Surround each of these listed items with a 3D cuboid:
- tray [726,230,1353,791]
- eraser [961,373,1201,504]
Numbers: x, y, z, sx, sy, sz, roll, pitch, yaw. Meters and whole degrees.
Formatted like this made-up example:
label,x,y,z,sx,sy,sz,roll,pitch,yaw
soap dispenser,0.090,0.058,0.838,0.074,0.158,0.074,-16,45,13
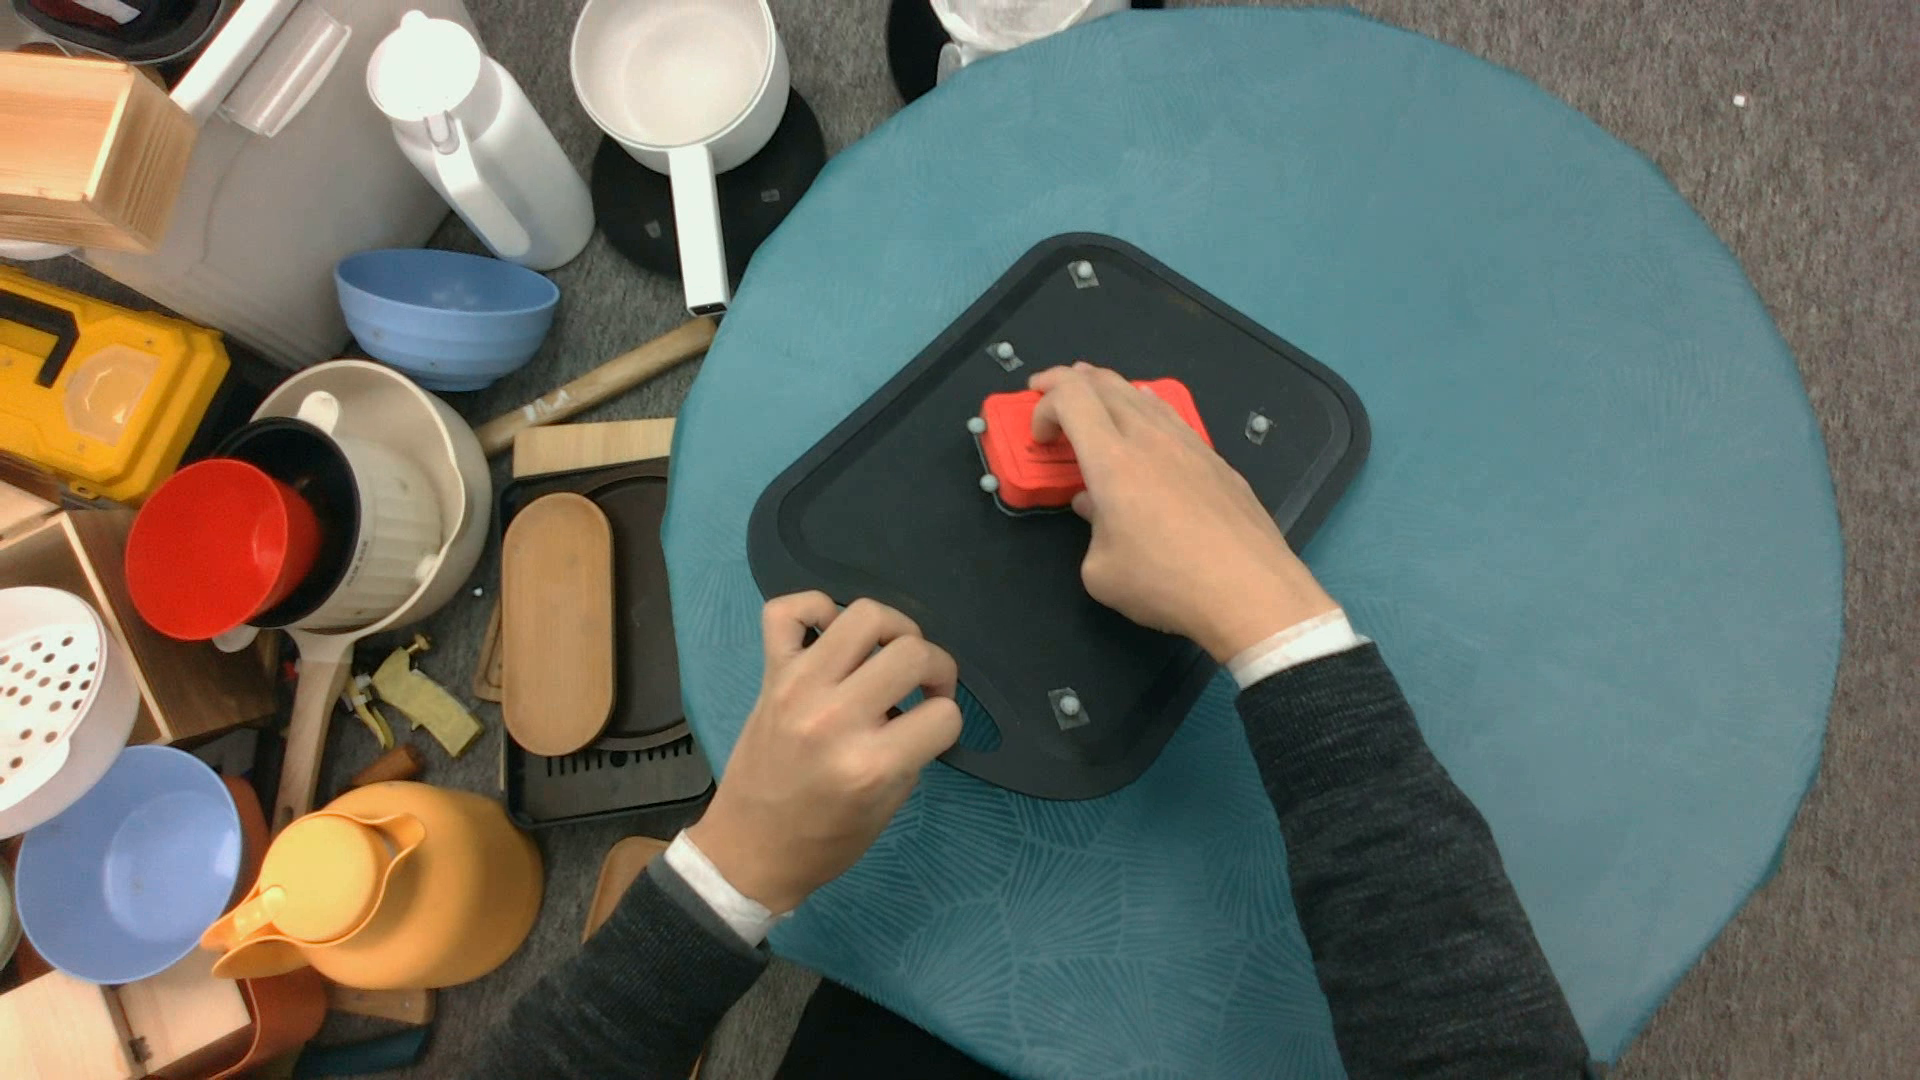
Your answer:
label,x,y,z,sx,sy,sz,roll,pitch,yaw
tray,0.046,-0.029,0.655,0.211,0.010,0.327,35,55,12
eraser,0.058,-0.050,0.661,0.108,0.023,0.059,-6,60,-18
